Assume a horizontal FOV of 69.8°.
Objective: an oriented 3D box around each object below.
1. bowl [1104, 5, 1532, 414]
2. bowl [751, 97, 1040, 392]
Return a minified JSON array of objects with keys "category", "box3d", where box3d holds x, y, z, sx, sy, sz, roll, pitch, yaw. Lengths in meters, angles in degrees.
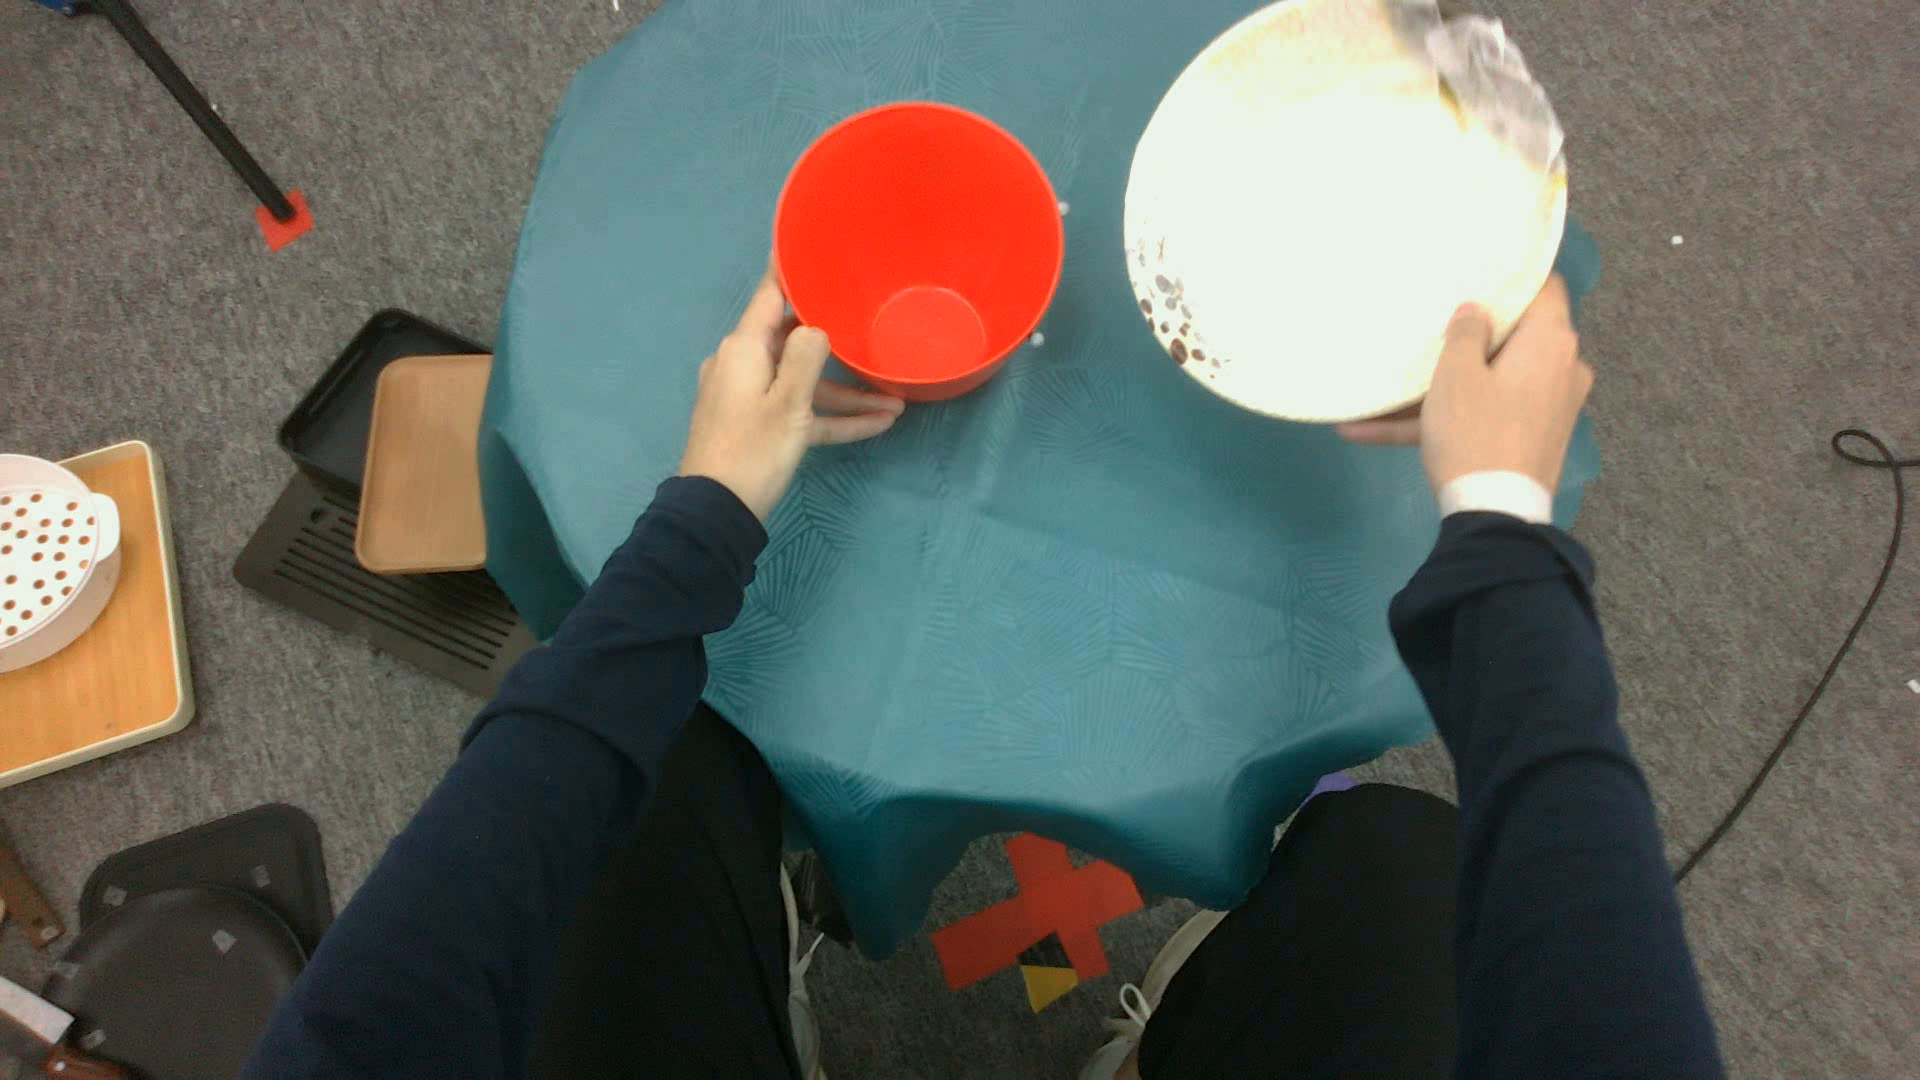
[{"category":"bowl","box3d":[0.181,-0.160,0.706,0.203,0.078,0.204,-1,85,17]},{"category":"bowl","box3d":[-0.033,-0.144,0.740,0.148,0.104,0.148,0,72,-1]}]
